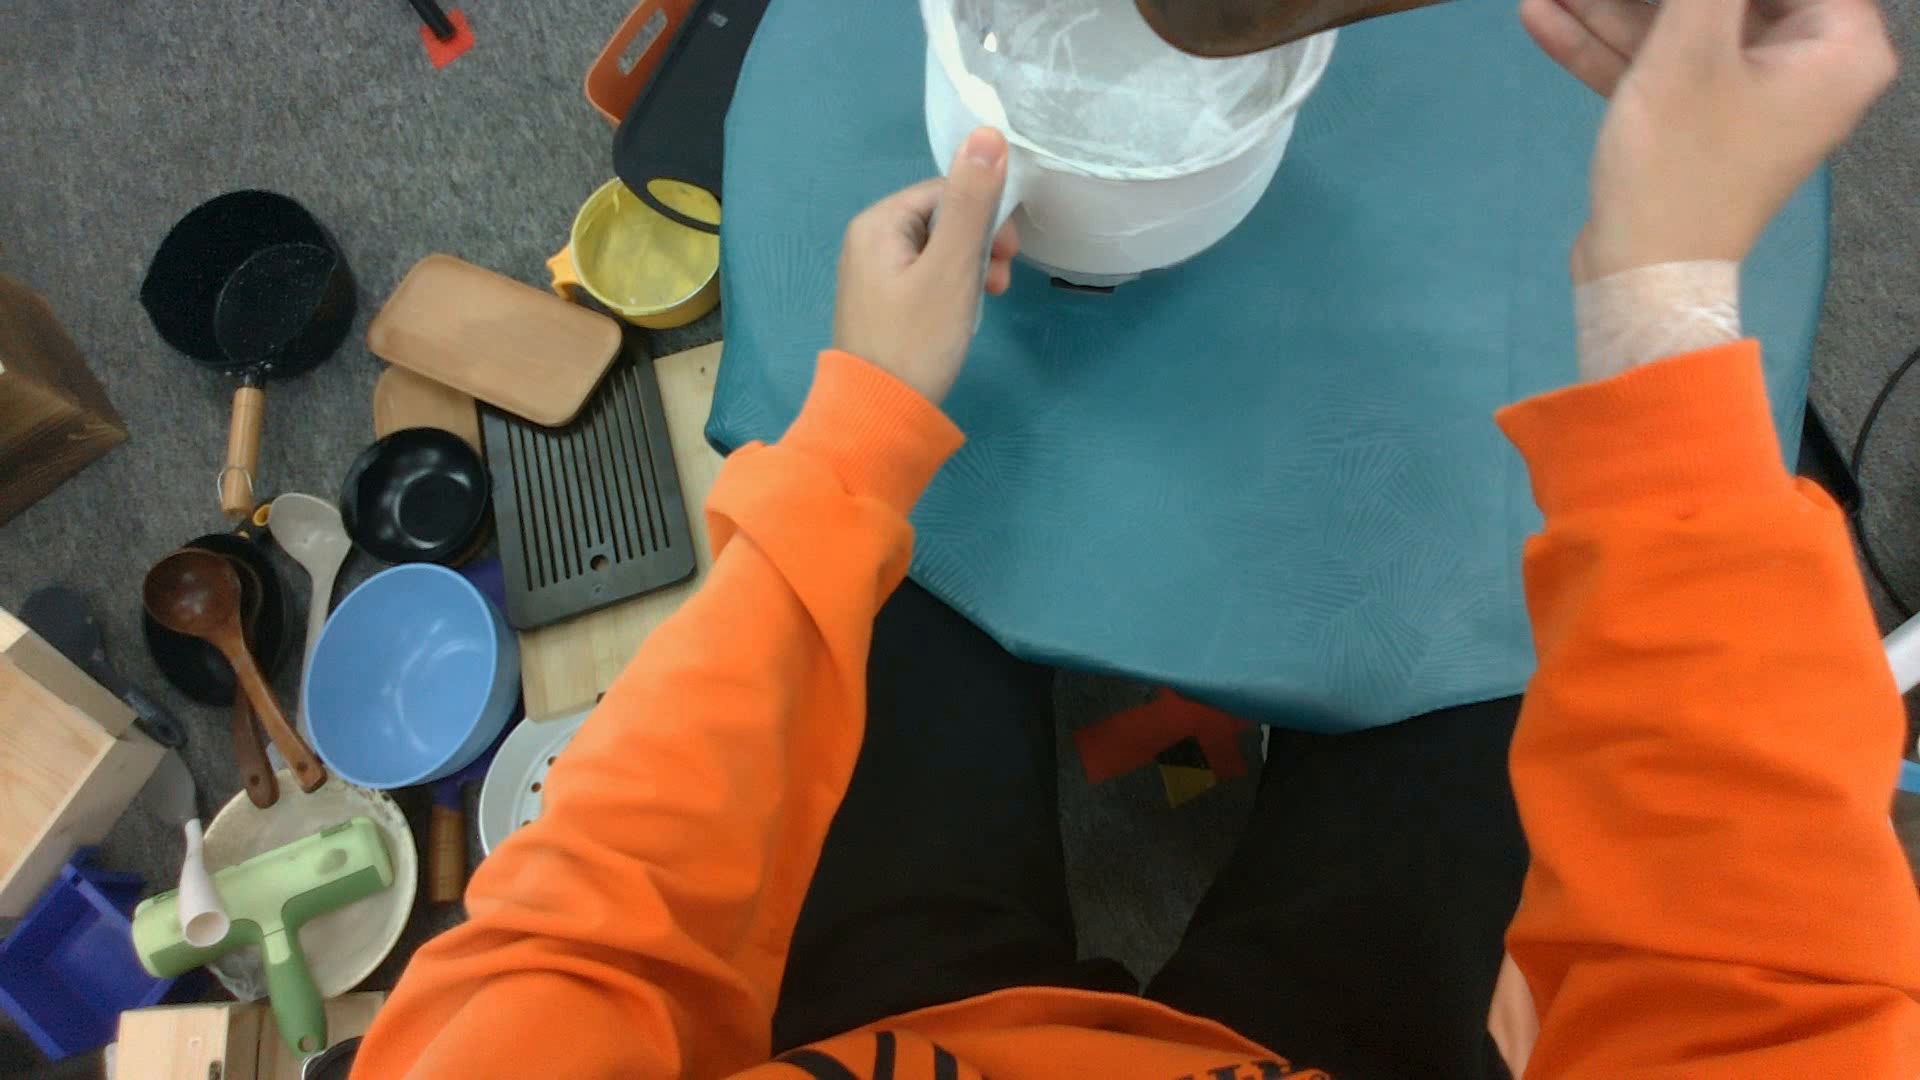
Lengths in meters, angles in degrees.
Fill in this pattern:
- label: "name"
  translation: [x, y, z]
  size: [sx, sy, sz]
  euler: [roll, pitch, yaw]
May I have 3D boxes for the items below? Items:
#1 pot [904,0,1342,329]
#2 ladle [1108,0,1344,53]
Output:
- label: "pot"
  translation: [0.056, -0.205, 0.636]
  size: [0.179, 0.136, 0.234]
  euler: [35, 80, 5]
- label: "ladle"
  translation: [0.171, -0.216, 0.481]
  size: [0.273, 0.071, 0.076]
  euler: [12, 87, 41]
